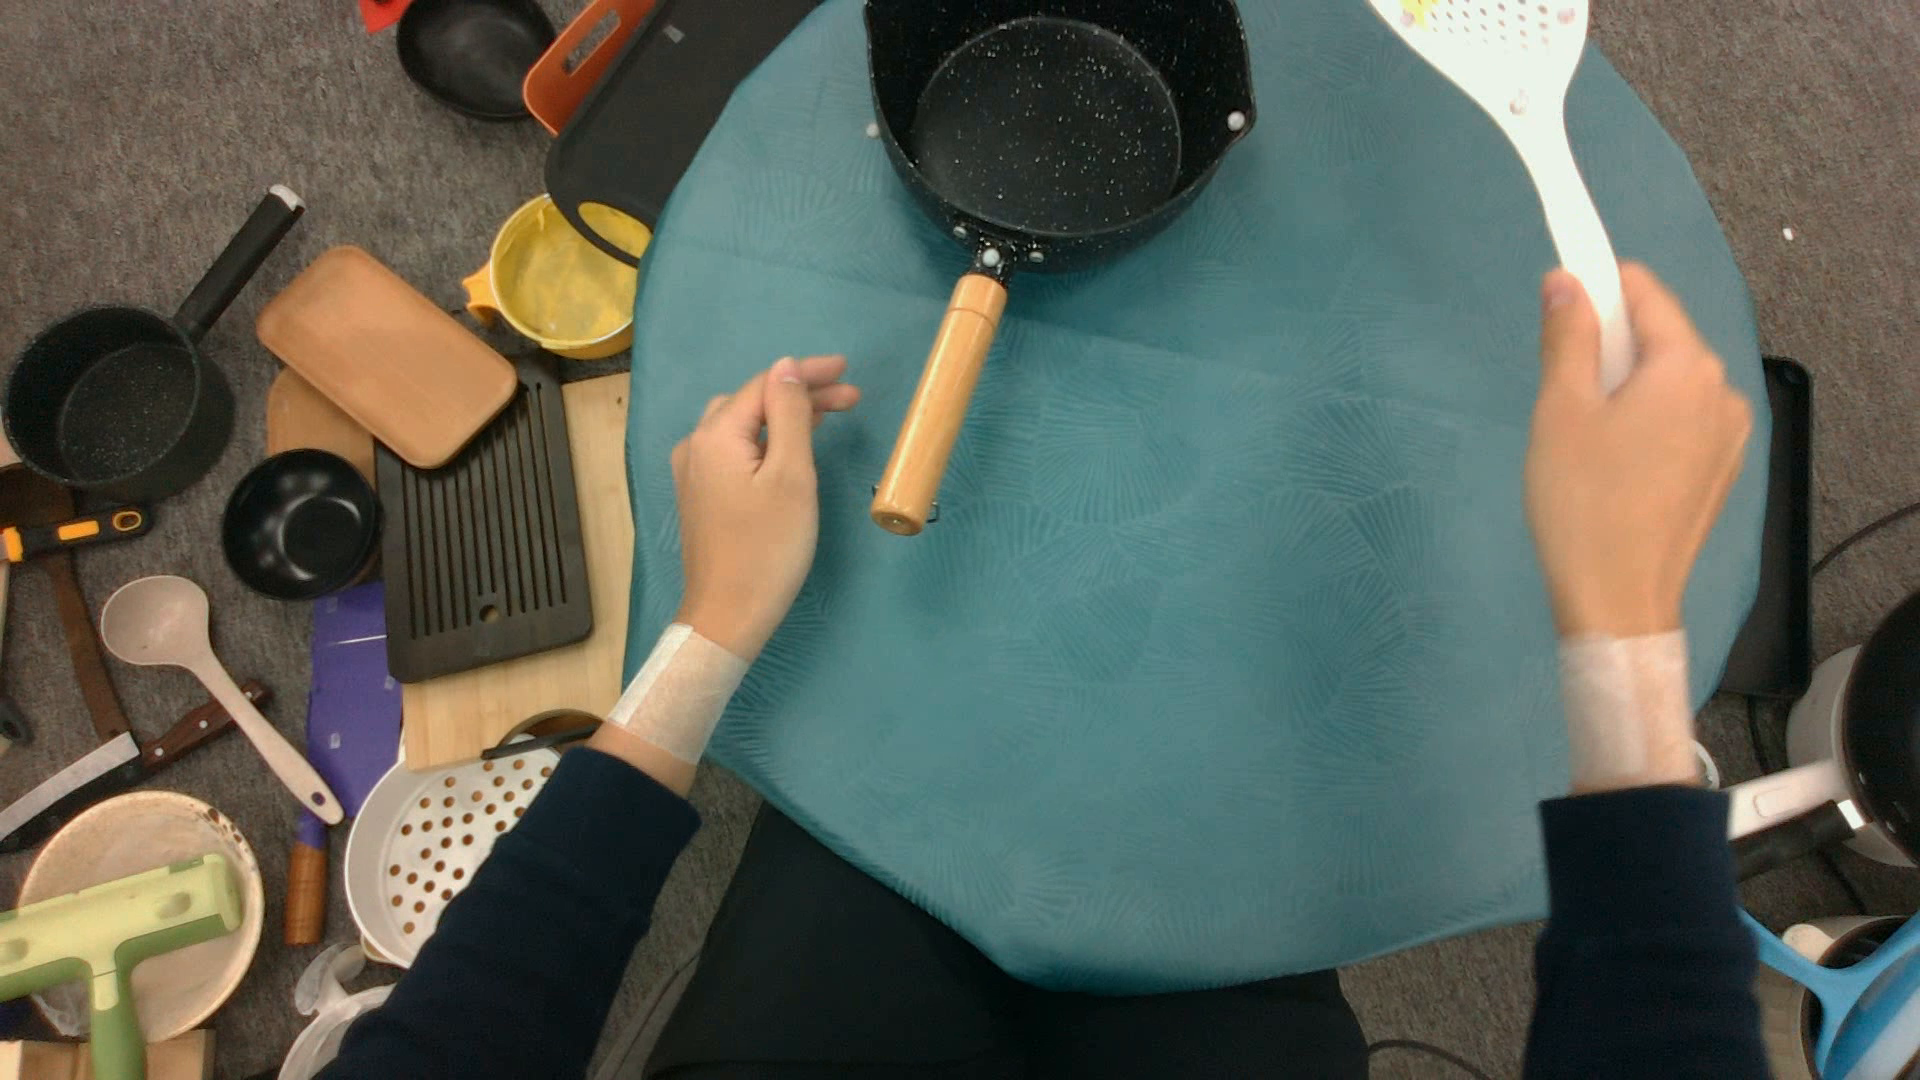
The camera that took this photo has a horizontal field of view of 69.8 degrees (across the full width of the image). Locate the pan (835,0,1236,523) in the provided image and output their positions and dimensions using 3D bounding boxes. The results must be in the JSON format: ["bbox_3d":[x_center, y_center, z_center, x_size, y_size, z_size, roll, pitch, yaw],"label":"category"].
[{"bbox_3d":[0.015,-0.157,0.684,0.207,0.108,0.343,16,77,2],"label":"pan"}]

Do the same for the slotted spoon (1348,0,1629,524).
[{"bbox_3d":[0.244,-0.169,0.619,0.137,0.050,0.349,3,59,-16],"label":"slotted spoon"}]
